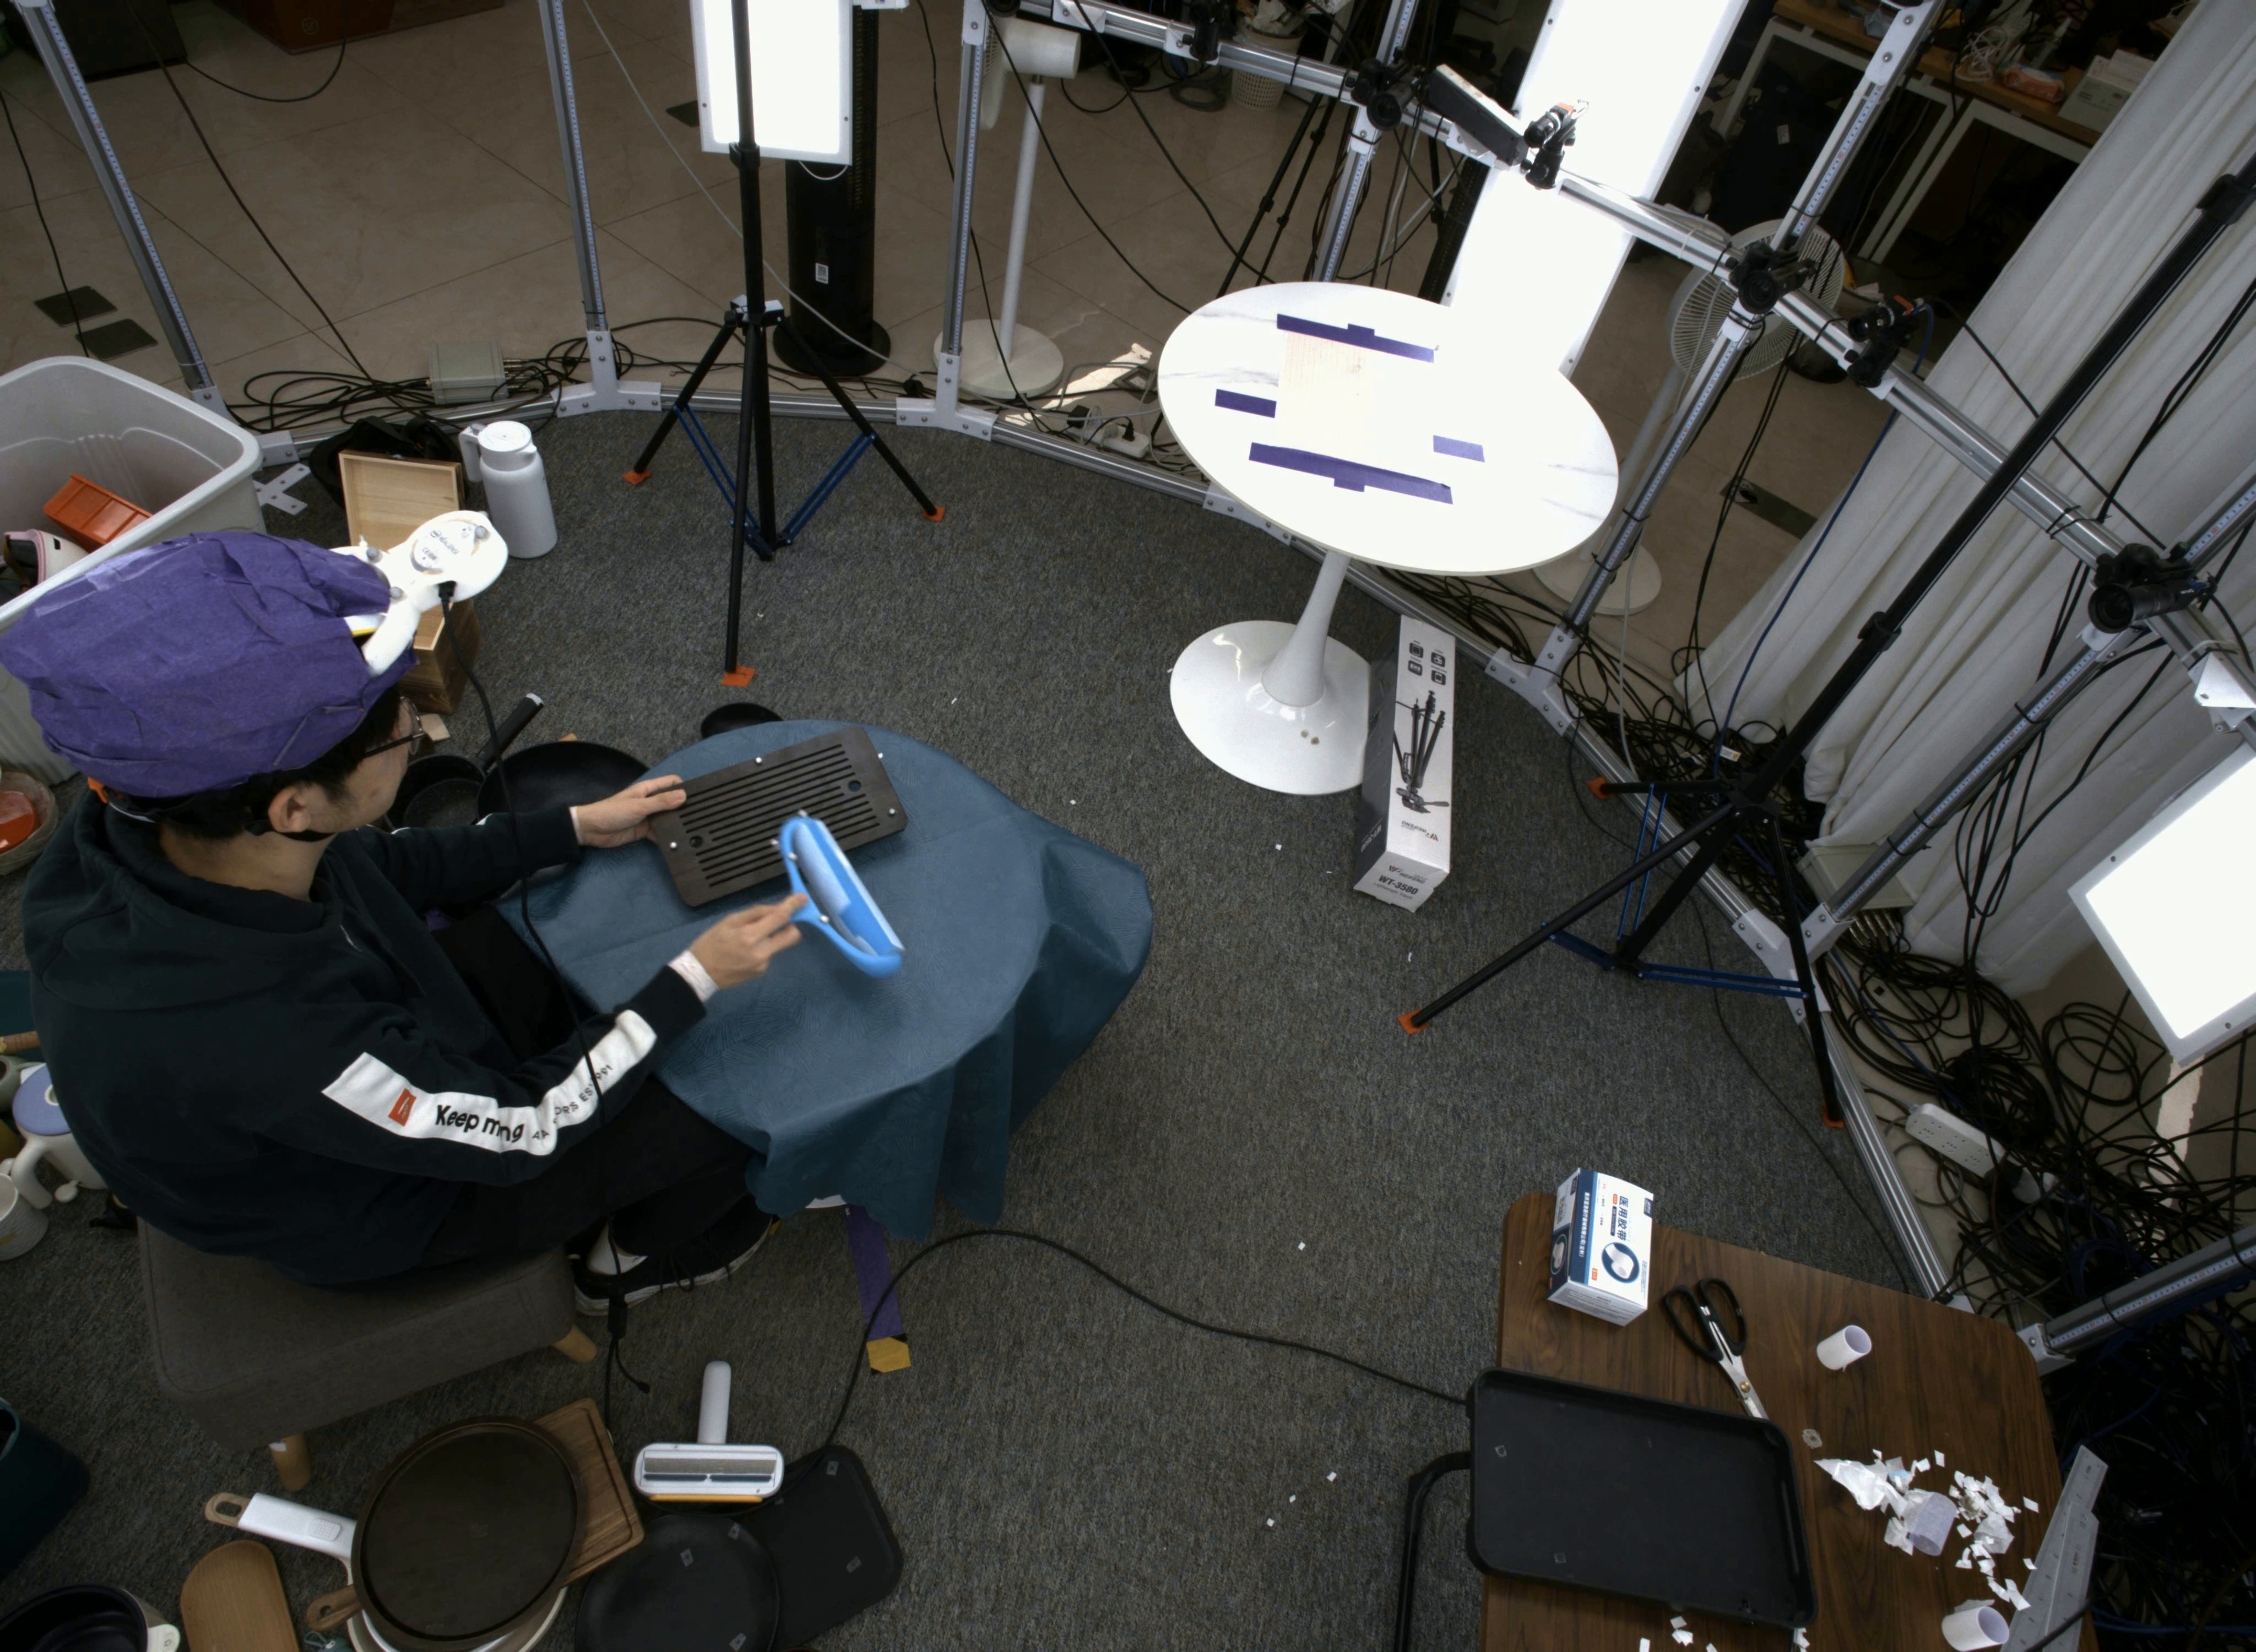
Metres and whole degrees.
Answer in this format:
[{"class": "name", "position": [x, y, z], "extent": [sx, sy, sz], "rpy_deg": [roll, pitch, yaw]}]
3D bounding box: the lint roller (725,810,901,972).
[{"class": "lint roller", "position": [-0.392, 0.102, 1.534], "extent": [0.181, 0.068, 0.228], "rpy_deg": [-33, 83, -31]}]

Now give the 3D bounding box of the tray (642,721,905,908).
[{"class": "tray", "position": [-0.459, -0.019, 1.681], "extent": [0.307, 0.019, 0.168], "rpy_deg": [-22, 73, -23]}]
